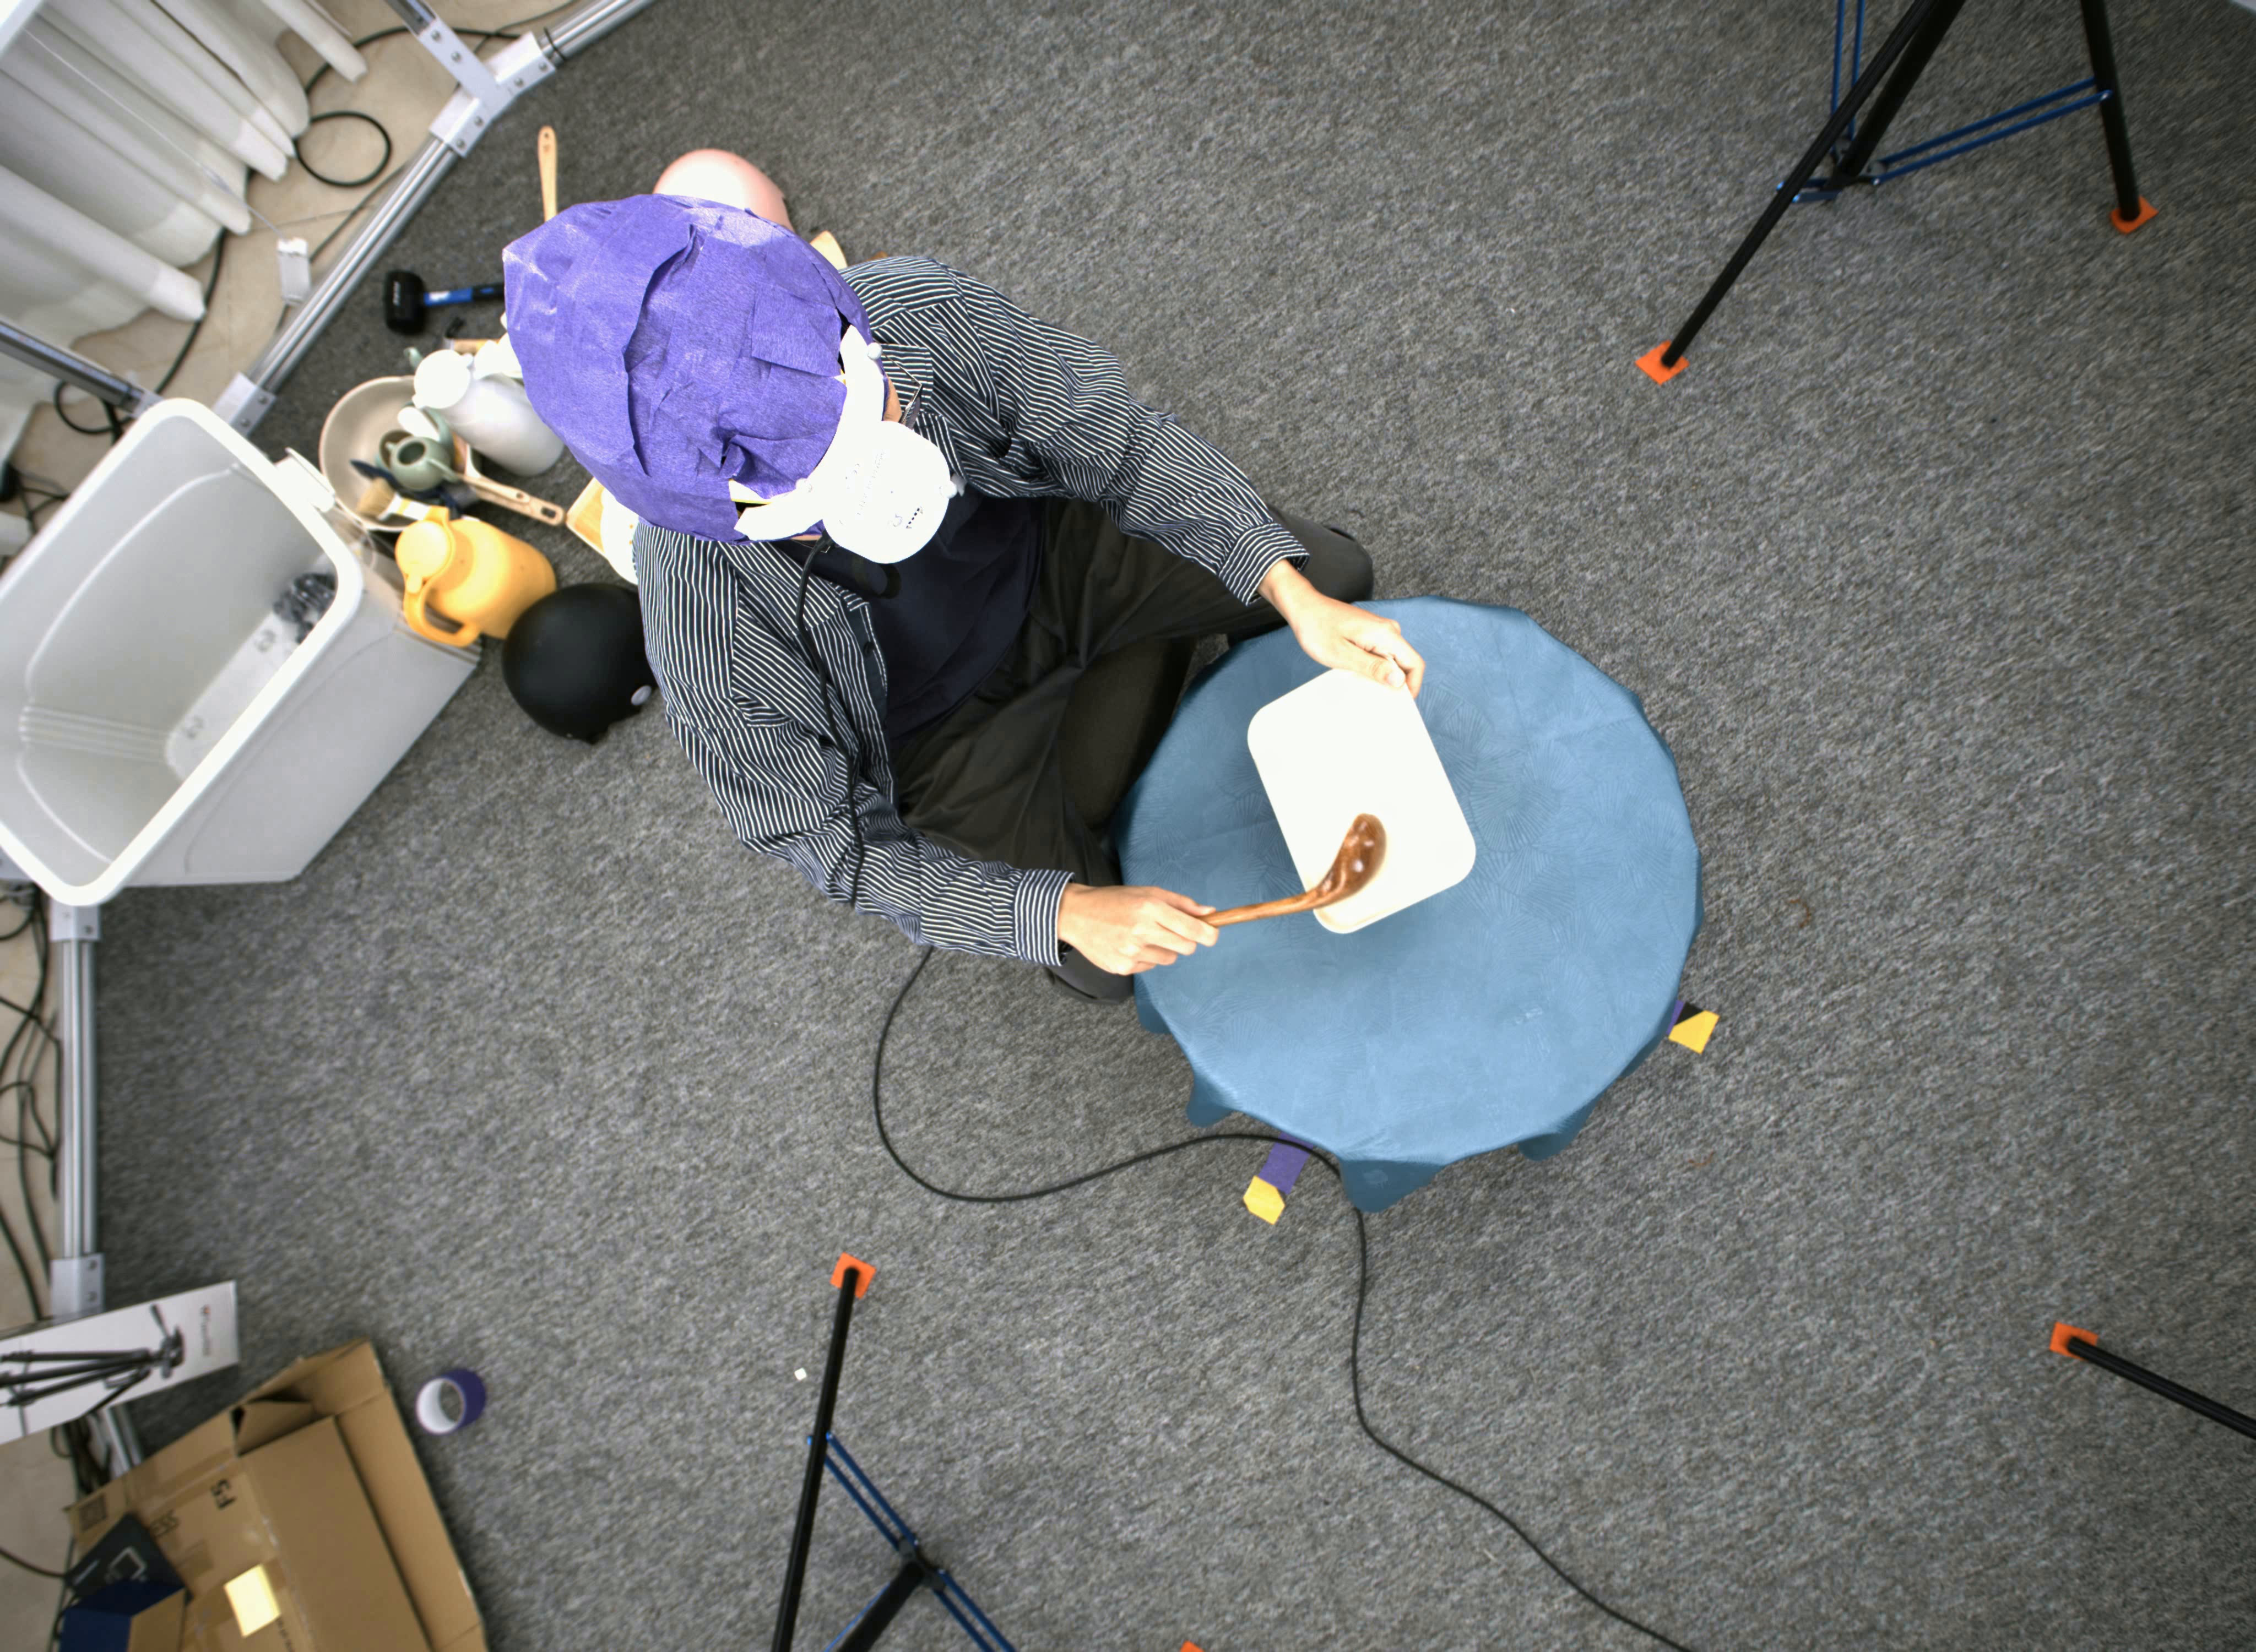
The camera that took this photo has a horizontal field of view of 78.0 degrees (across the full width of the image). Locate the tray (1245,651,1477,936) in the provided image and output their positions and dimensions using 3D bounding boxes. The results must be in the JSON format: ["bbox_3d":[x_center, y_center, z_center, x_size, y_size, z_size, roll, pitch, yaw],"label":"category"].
[{"bbox_3d":[0.215,-0.031,1.287,0.174,0.017,0.237,-28,74,29],"label":"tray"}]

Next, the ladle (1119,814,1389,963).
[{"bbox_3d":[0.111,0.057,1.283,0.277,0.082,0.075,-16,70,20],"label":"ladle"}]
